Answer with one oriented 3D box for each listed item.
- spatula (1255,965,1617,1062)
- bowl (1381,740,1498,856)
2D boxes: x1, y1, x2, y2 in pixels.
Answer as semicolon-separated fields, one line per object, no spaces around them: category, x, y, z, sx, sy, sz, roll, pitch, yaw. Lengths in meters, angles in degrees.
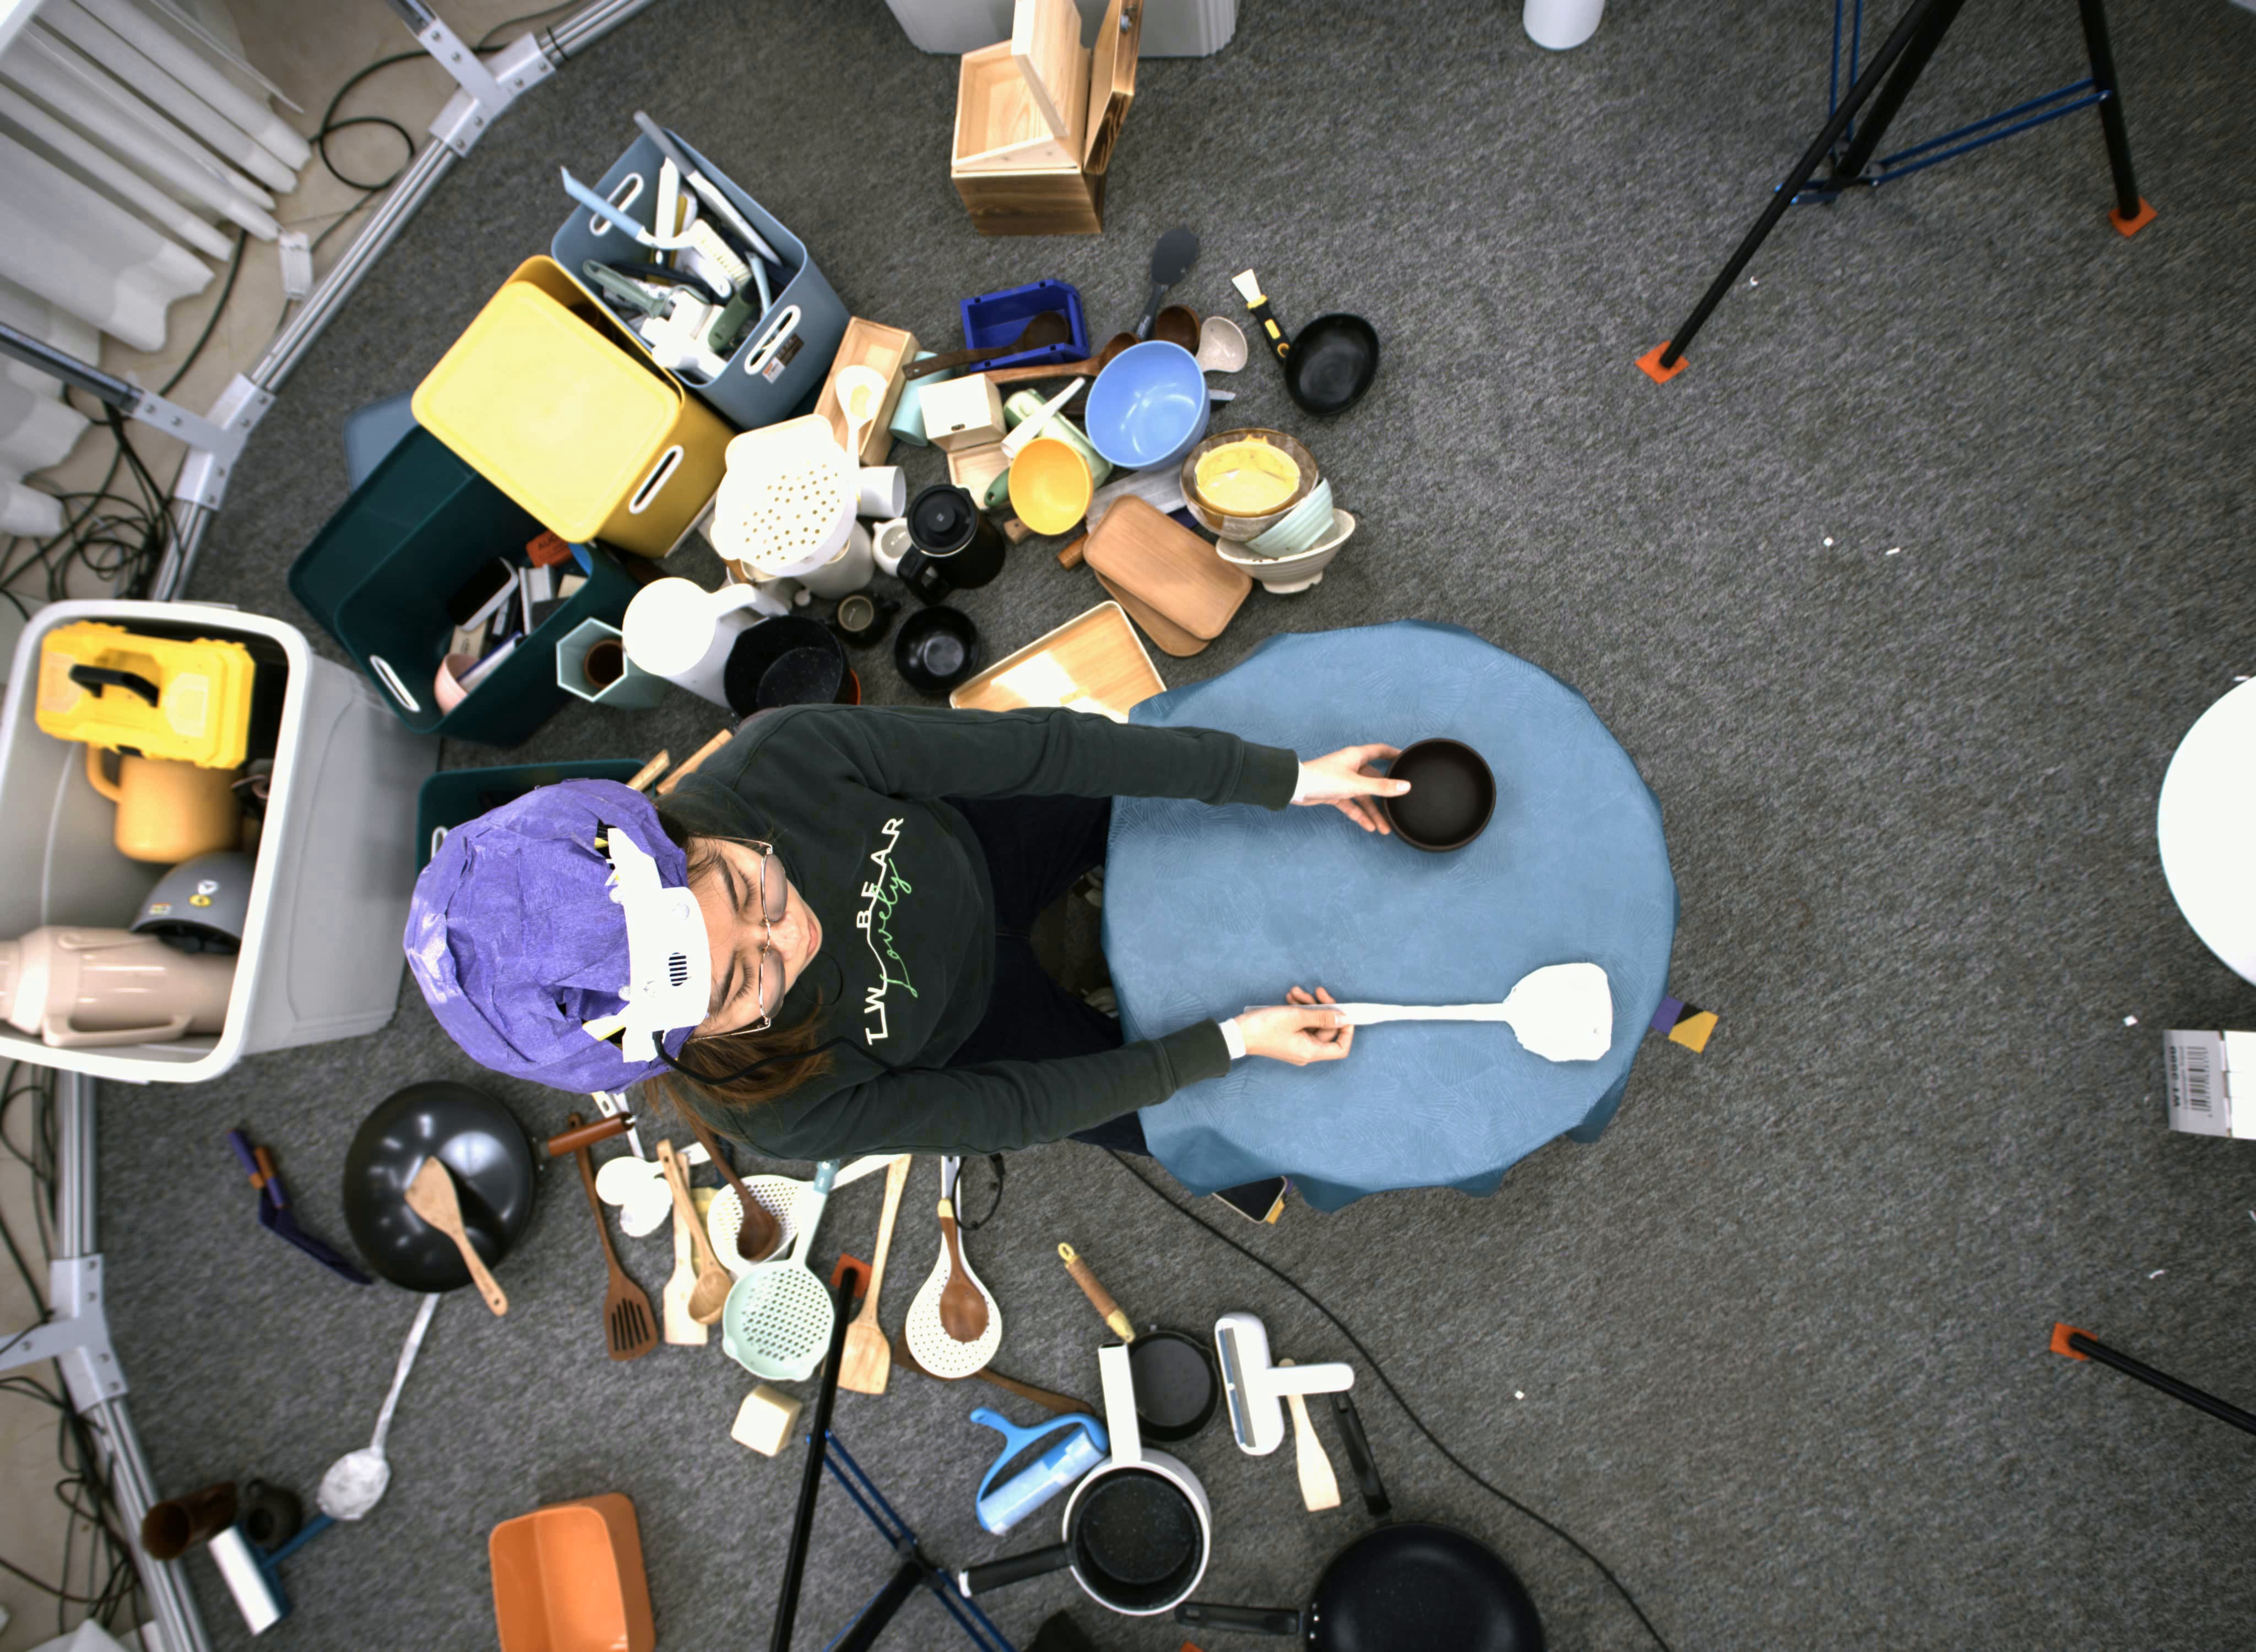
spatula;0.313;0.189;1.425;0.366;0.045;0.098;-1;86;7
bowl;0.322;-0.028;1.426;0.118;0.070;0.117;-1;84;12
